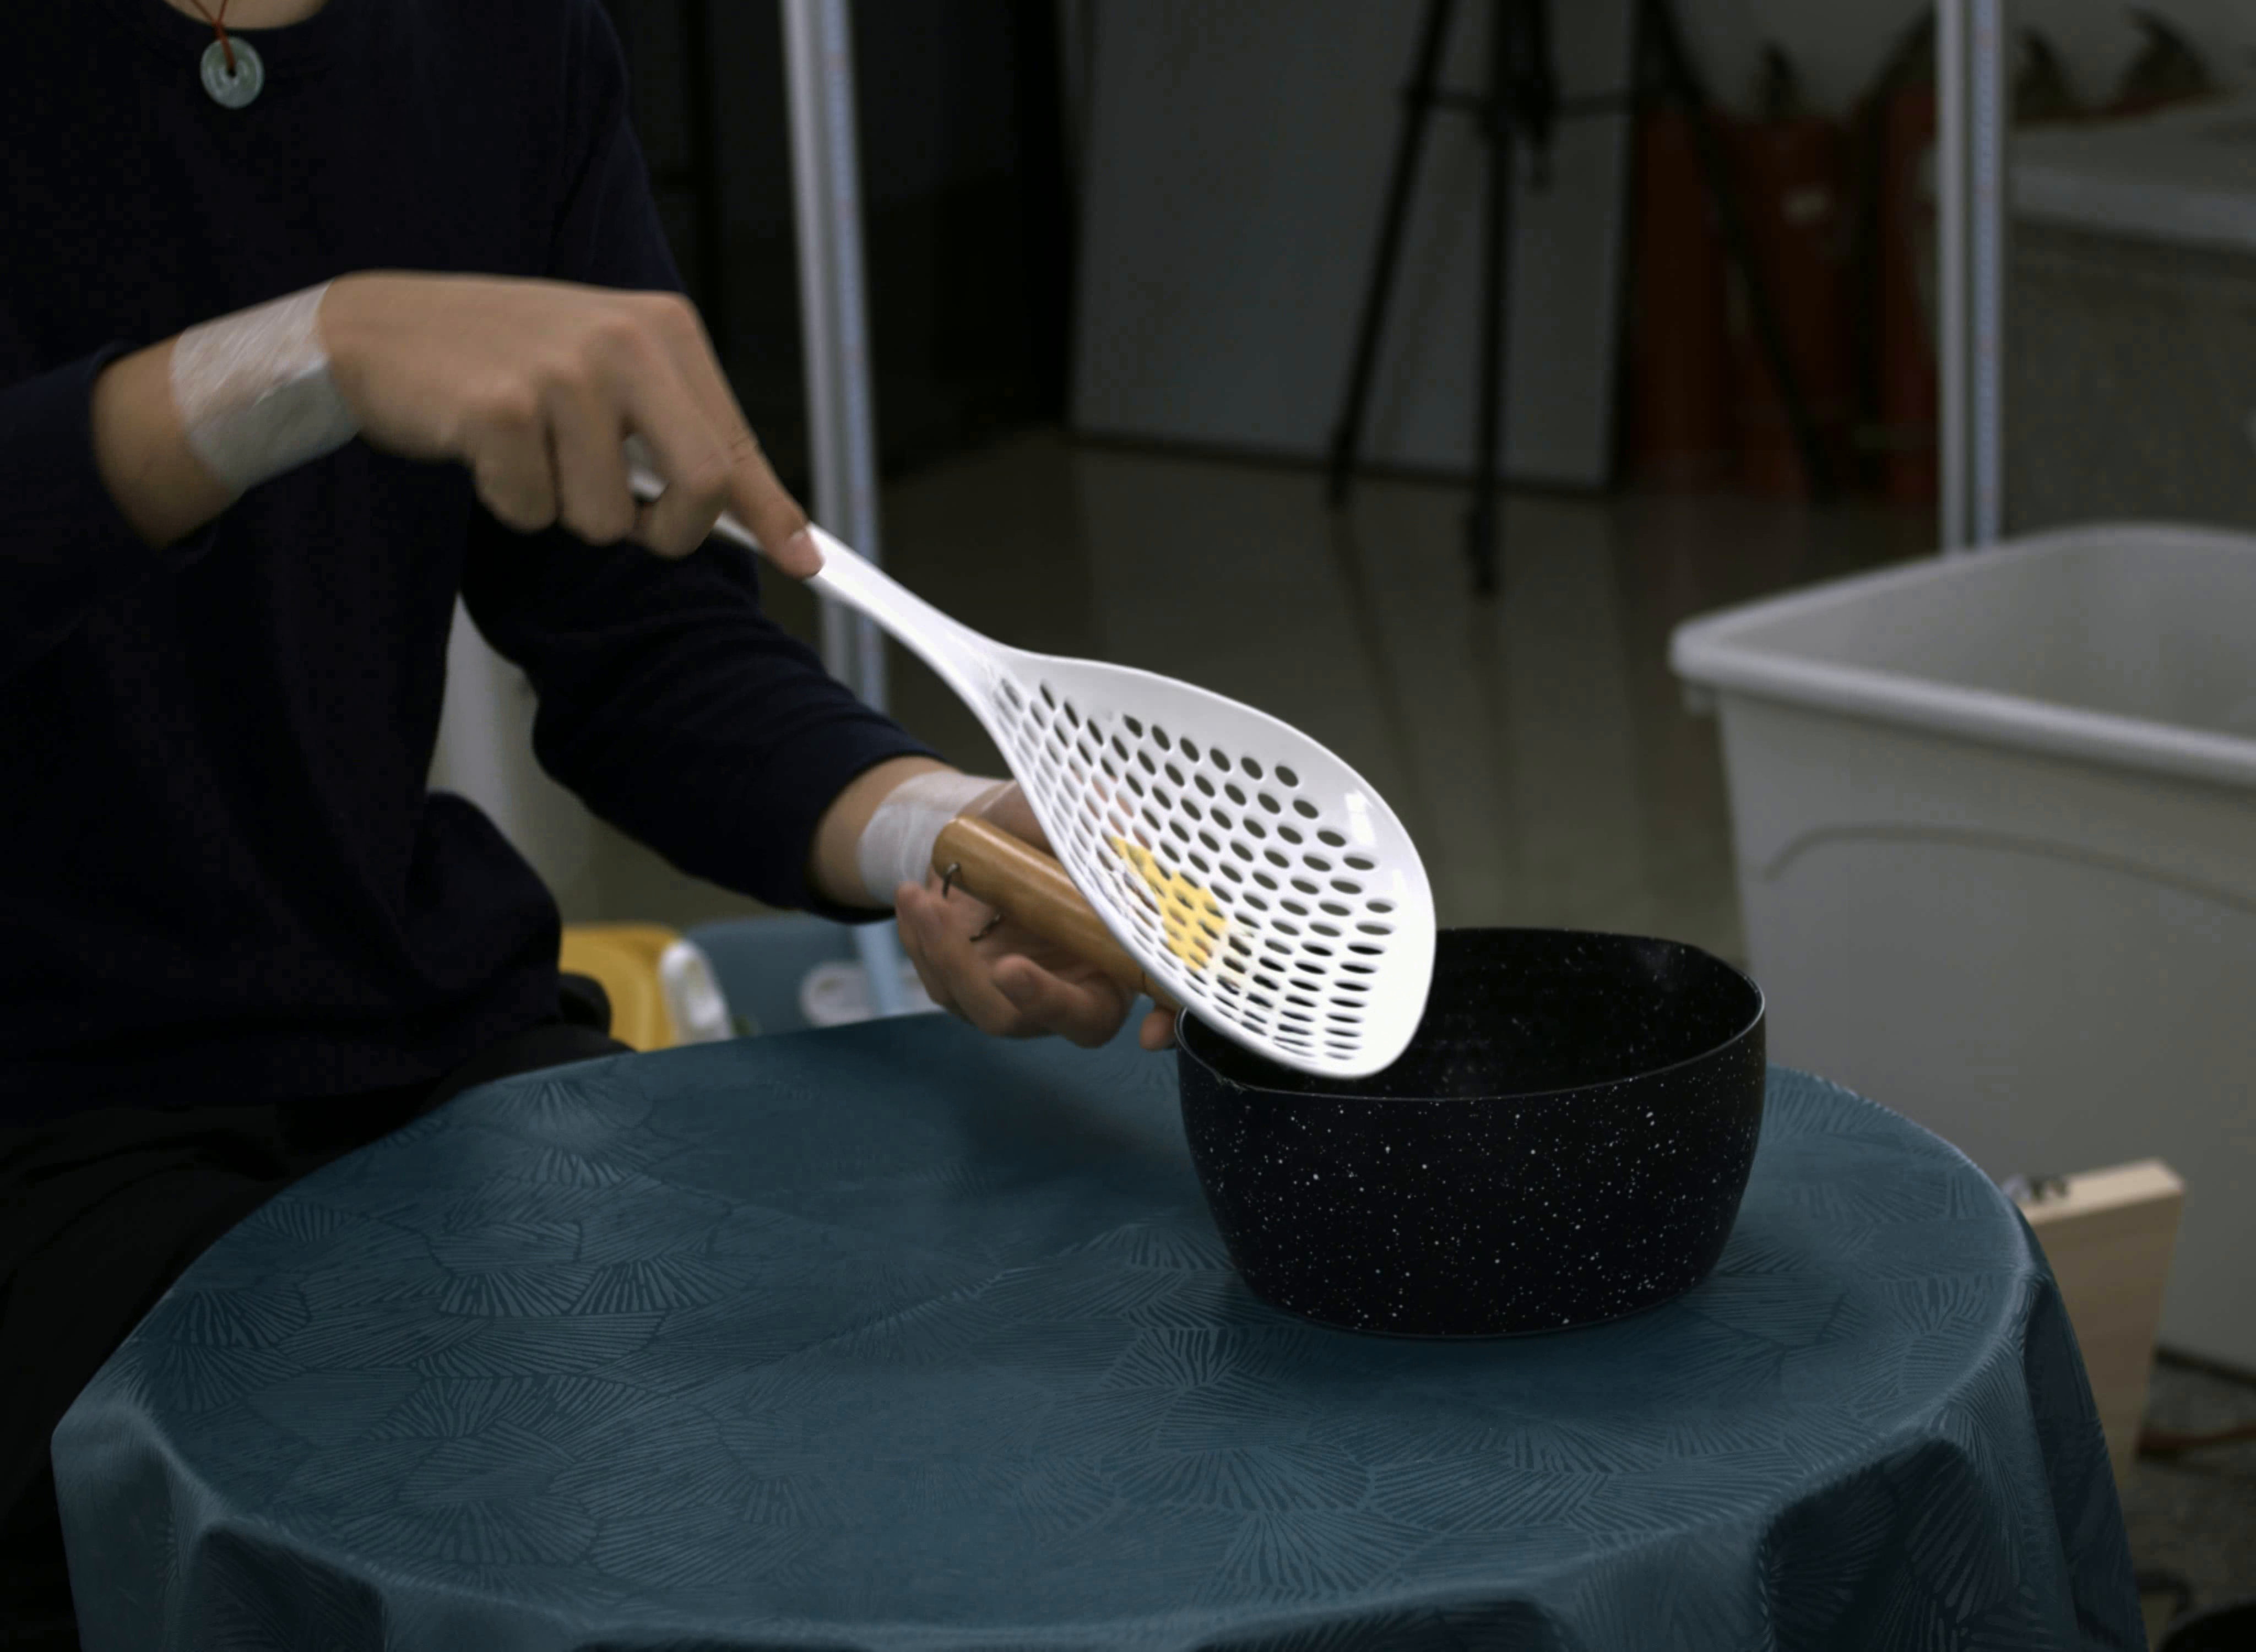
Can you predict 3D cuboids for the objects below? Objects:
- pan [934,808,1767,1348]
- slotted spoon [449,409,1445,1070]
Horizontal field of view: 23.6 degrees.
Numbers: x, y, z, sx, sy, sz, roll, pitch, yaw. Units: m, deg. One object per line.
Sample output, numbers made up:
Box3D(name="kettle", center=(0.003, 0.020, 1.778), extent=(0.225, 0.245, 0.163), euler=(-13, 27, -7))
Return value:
Box3D(name="pan", center=(0.053, 0.073, 1.723), extent=(0.203, 0.109, 0.346), euler=(-17, 20, -39))
Box3D(name="slotted spoon", center=(-0.050, -0.038, 1.623), extent=(0.051, 0.344, 0.137), euler=(-40, 22, 38))
